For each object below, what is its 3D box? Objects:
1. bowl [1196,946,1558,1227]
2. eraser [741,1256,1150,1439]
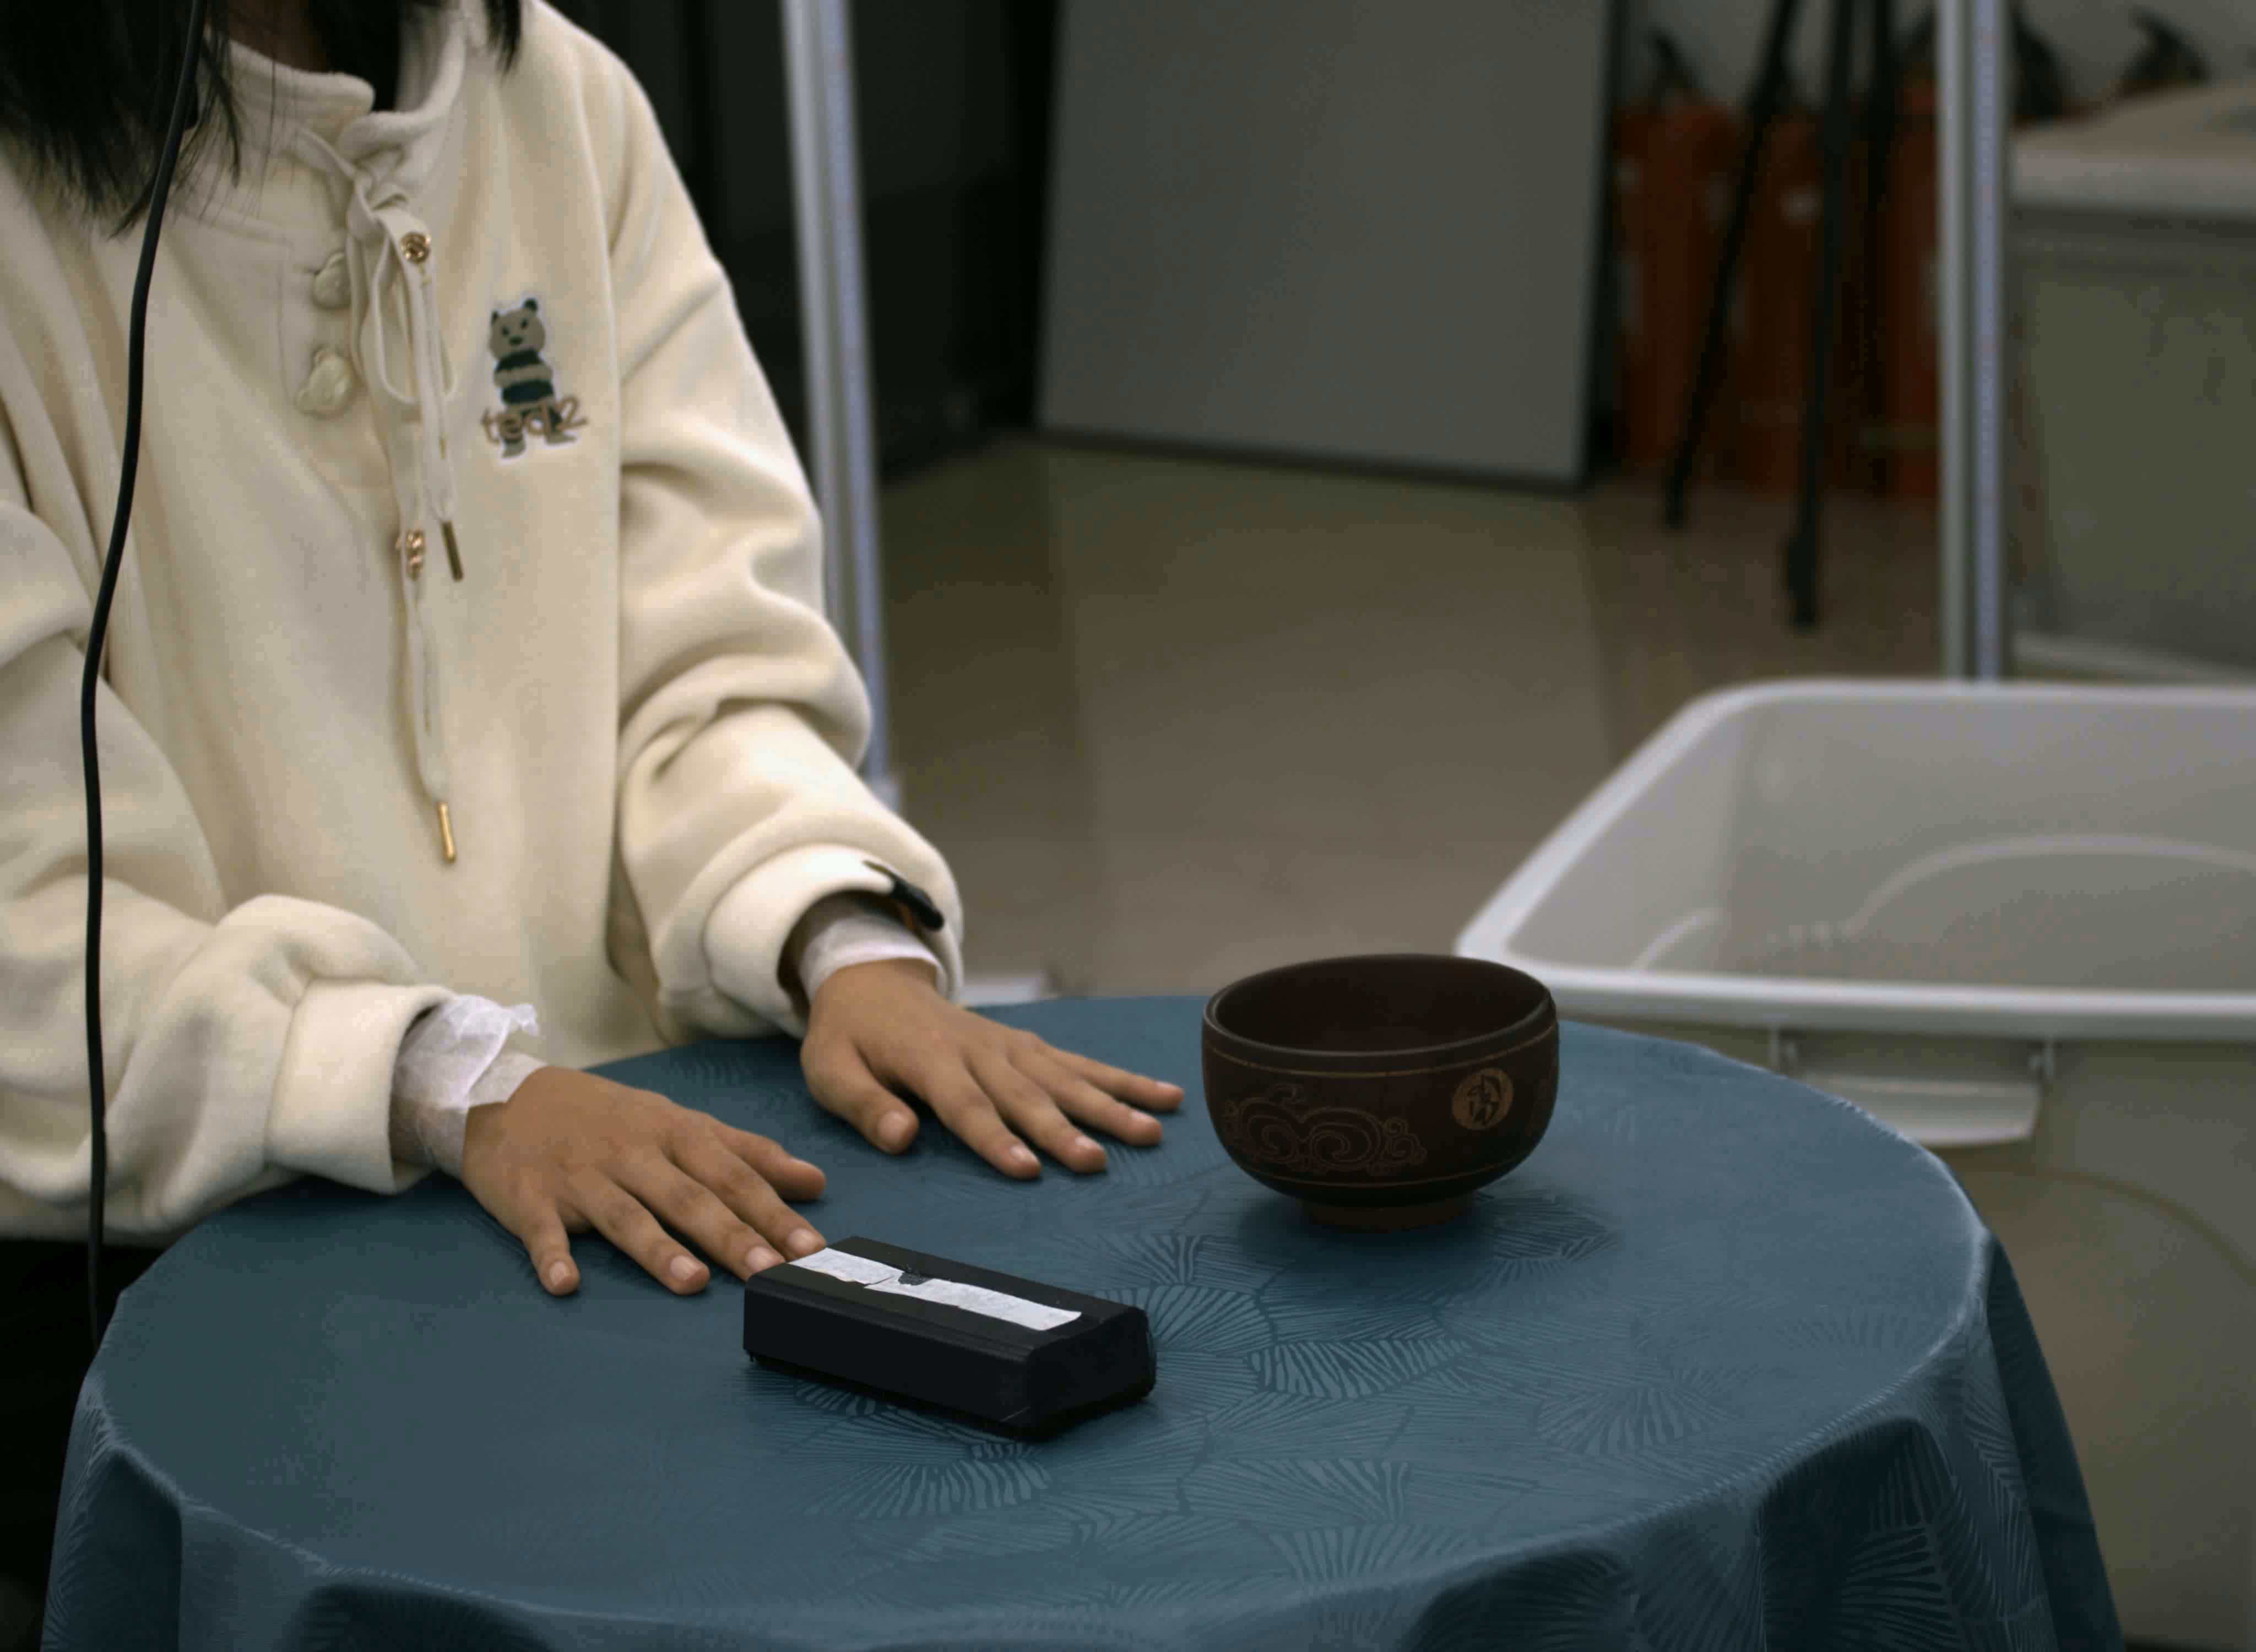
[{"bbox_3d":[0.081,0.087,1.731,0.116,0.070,0.118,-5,13,0],"label":"bowl"},{"bbox_3d":[-0.054,0.153,1.599,0.126,0.031,0.052,6,16,44],"label":"eraser"}]
